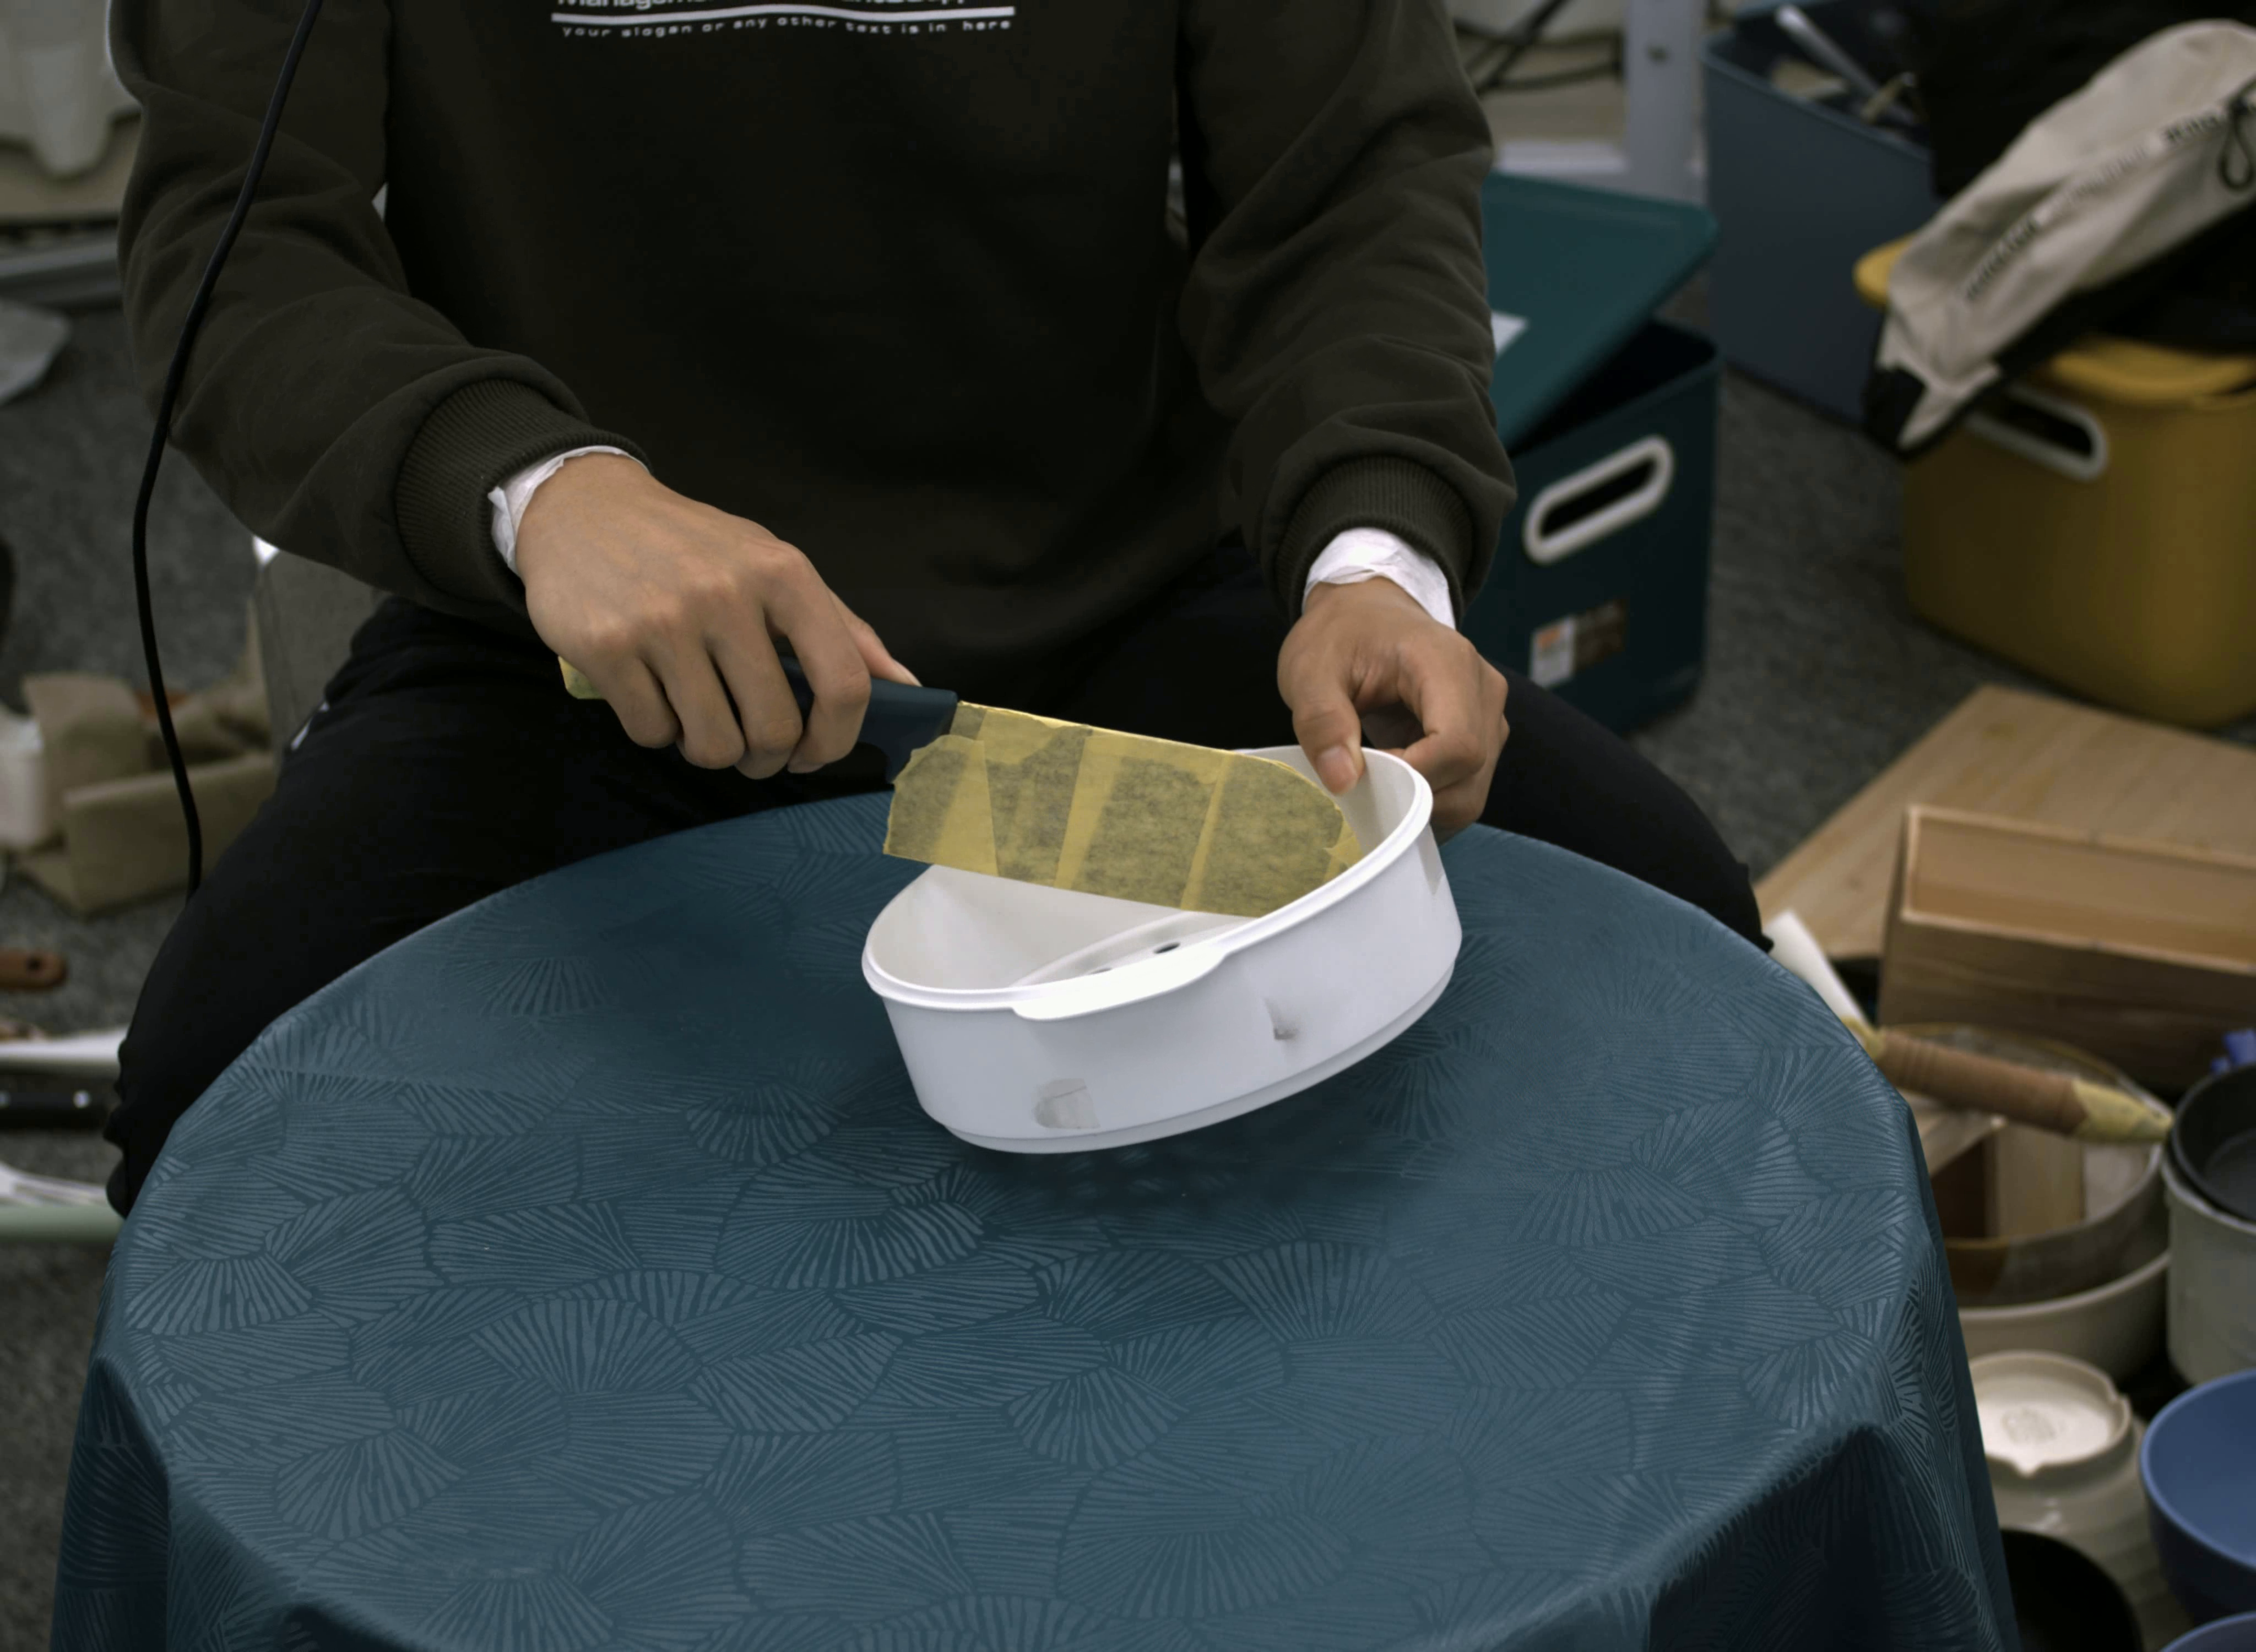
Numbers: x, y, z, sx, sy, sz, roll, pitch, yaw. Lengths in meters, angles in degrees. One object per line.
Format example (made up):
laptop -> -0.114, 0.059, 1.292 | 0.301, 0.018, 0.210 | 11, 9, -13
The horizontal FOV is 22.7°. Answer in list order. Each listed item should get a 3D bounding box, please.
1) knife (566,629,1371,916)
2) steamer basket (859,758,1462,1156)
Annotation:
knife -> -0.053, -0.016, 1.919 | 0.288, 0.080, 0.028 | 14, 34, -6
steamer basket -> 0.013, 0.045, 1.892 | 0.200, 0.069, 0.233 | -14, 16, 11
